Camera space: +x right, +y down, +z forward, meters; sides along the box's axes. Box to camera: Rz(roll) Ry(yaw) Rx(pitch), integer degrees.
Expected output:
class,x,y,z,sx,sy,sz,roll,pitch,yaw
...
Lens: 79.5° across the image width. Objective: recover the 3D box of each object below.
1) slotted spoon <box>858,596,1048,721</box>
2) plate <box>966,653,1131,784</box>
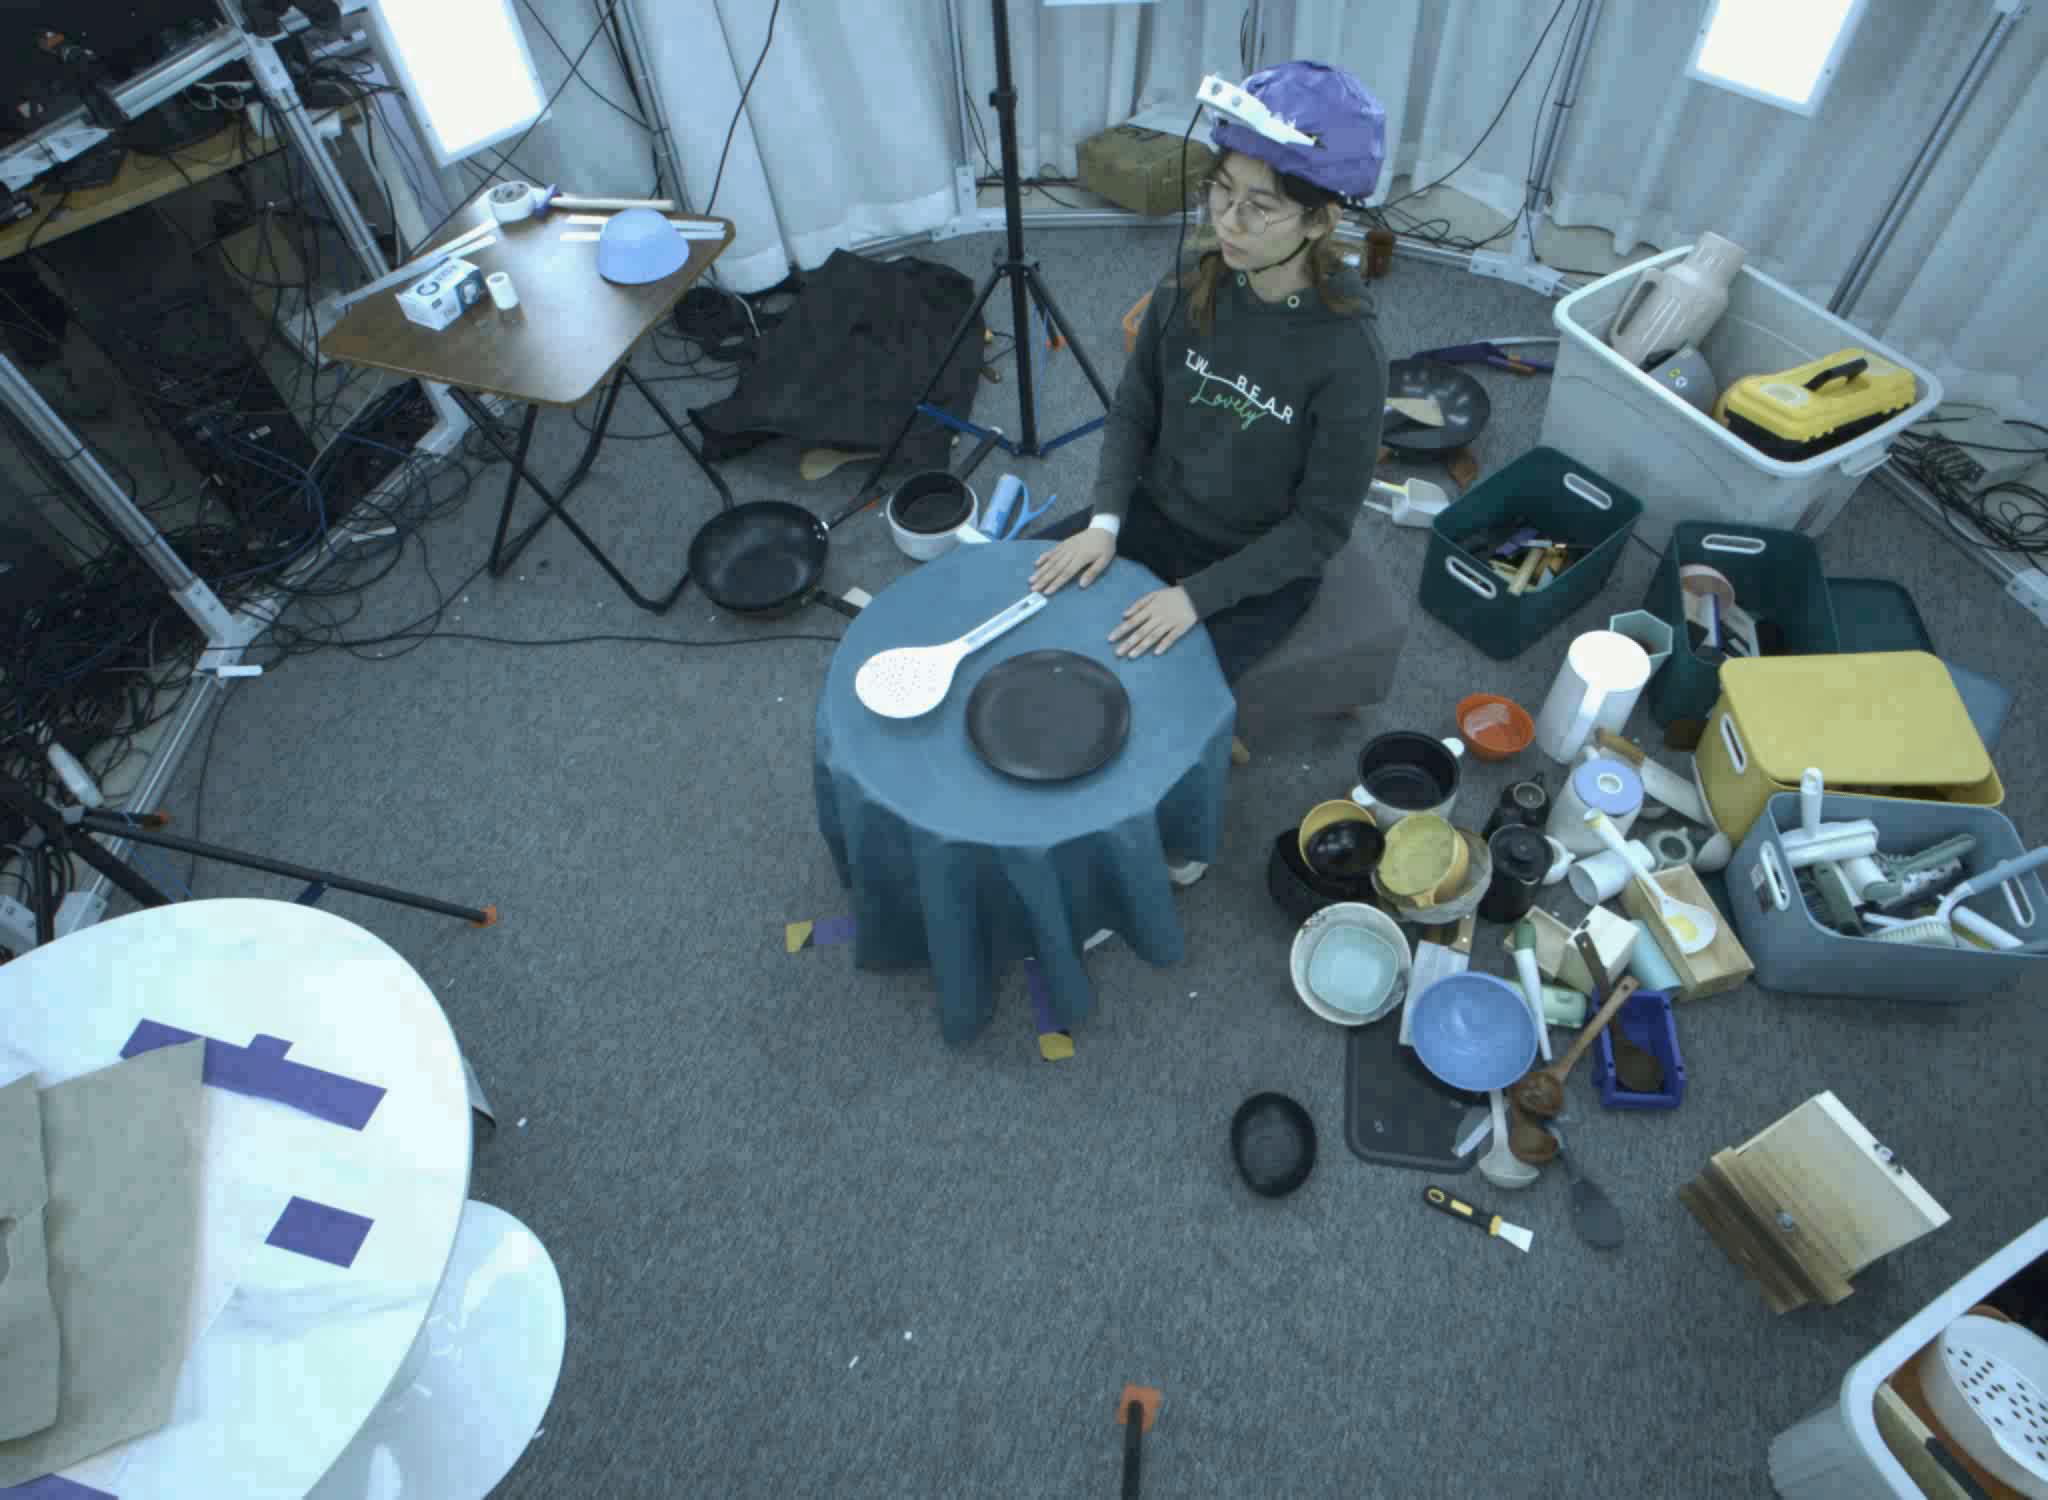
class,x,y,z,sx,sy,sz,roll,pitch,yaw
slotted spoon,-0.099,-0.148,1.877,0.352,0.046,0.134,-37,64,-23
plate,0.036,-0.045,1.814,0.244,0.023,0.242,0,55,2
